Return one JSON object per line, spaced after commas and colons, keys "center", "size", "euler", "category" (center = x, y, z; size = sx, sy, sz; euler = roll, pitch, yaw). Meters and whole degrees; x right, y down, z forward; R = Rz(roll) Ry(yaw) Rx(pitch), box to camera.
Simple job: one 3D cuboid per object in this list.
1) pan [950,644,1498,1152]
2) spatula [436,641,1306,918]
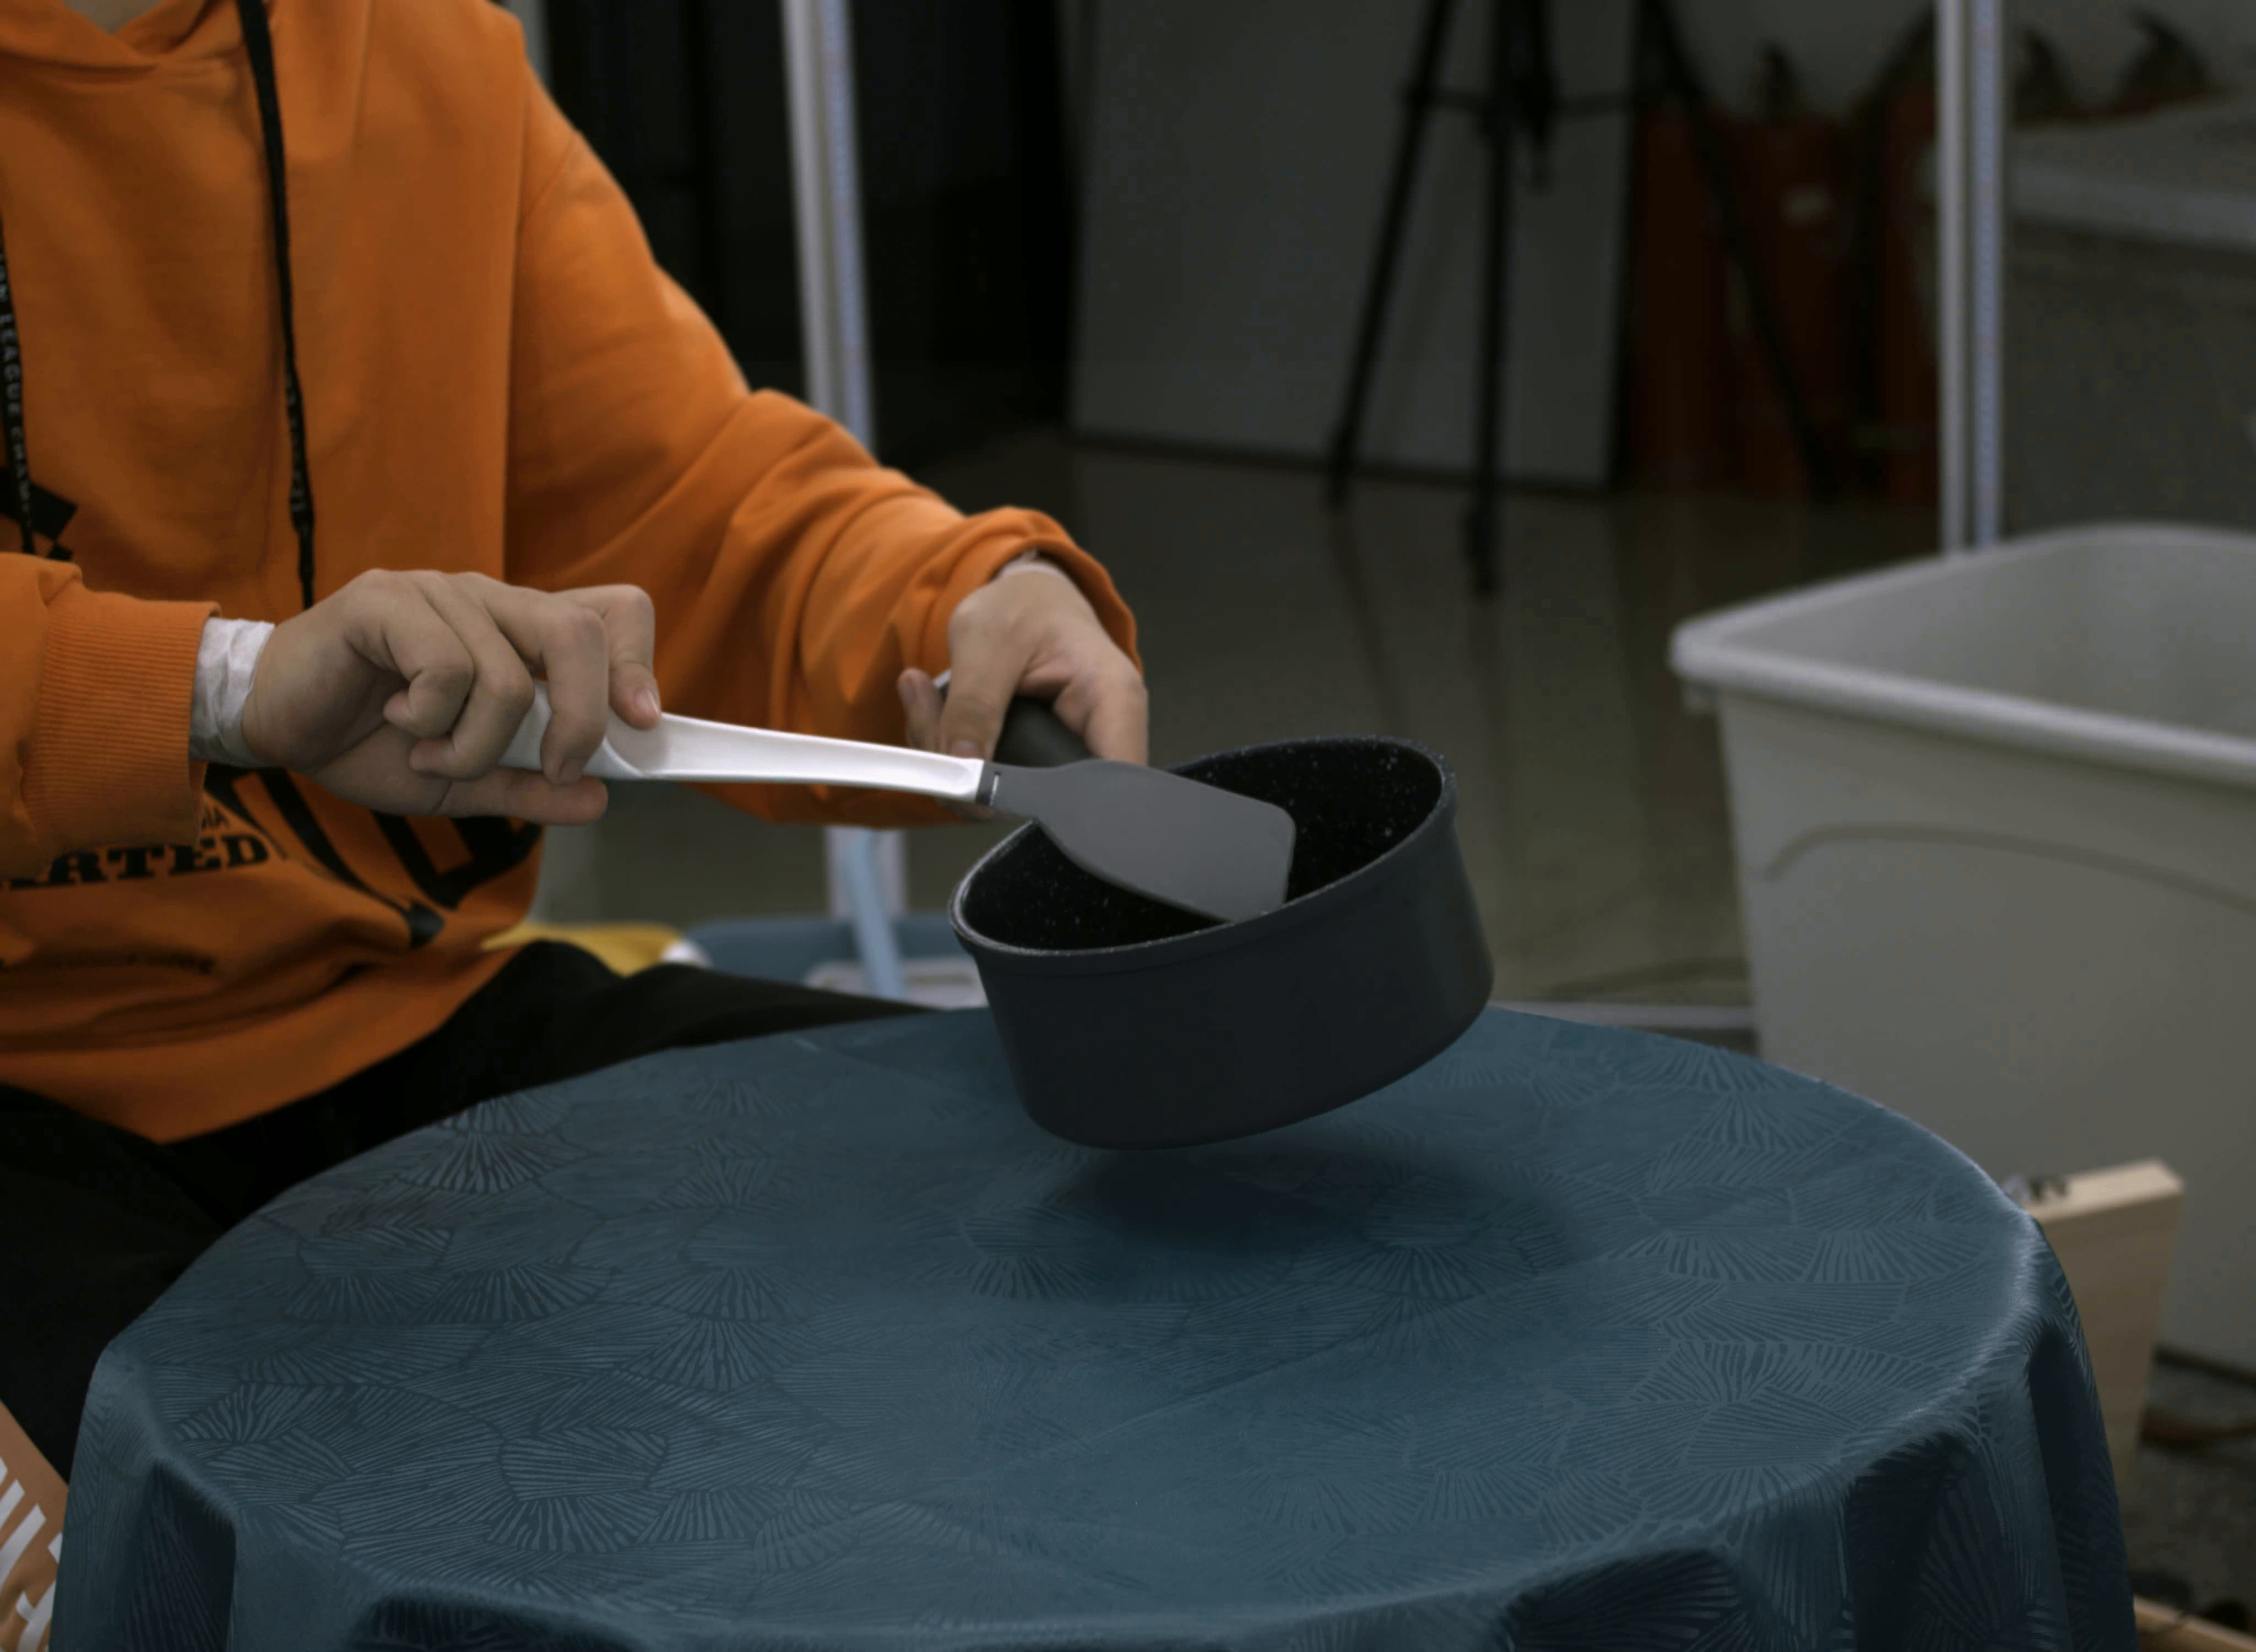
{"center": [0.008, 0.016, 1.821], "size": [0.169, 0.087, 0.331], "euler": [-20, 19, -12], "category": "pan"}
{"center": [-0.082, -0.016, 1.750], "size": [0.284, 0.032, 0.059], "euler": [11, 49, 3], "category": "spatula"}
